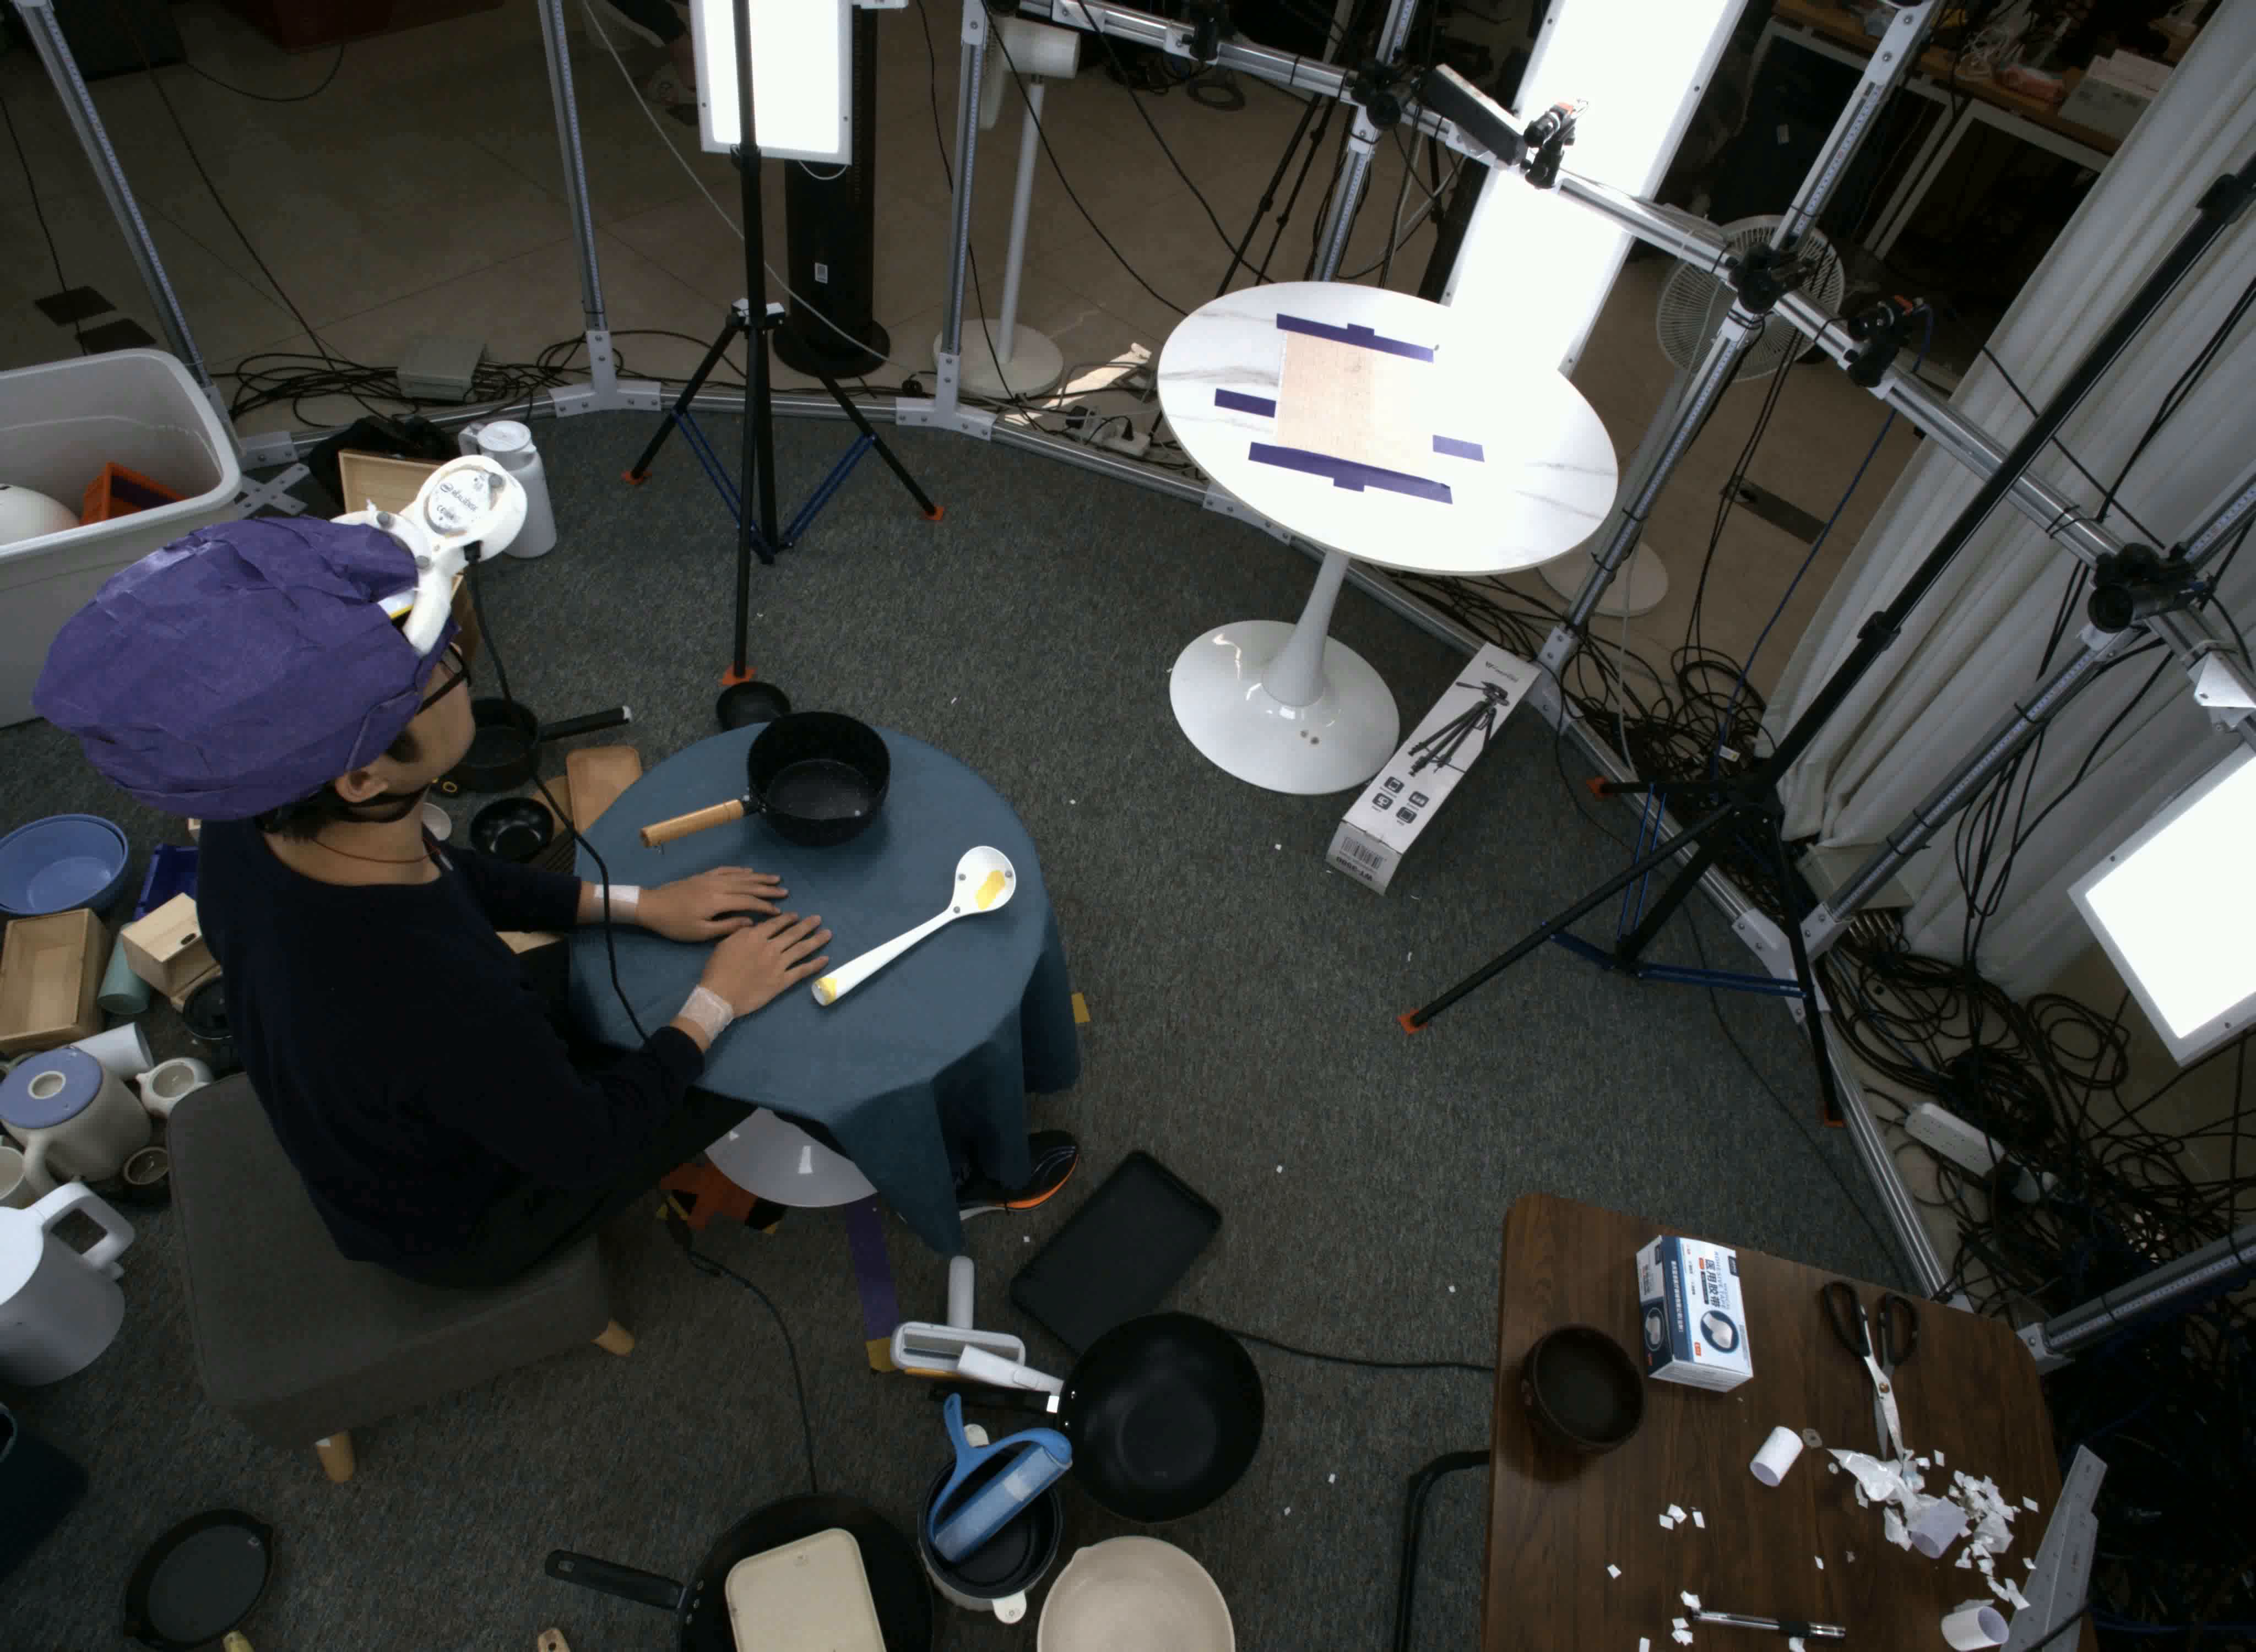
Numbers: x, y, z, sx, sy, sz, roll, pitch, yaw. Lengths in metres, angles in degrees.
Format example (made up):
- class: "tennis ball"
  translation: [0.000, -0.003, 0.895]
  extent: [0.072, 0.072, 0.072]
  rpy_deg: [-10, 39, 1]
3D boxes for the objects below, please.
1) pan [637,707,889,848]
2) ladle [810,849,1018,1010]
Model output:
- class: "pan"
  translation: [-0.465, -0.030, 1.655]
  extent: [0.344, 0.110, 0.203]
  rpy_deg: [-31, 67, -33]
- class: "ladle"
  translation: [-0.267, 0.129, 1.624]
  extent: [0.294, 0.071, 0.088]
  rpy_deg: [-32, 71, -30]
